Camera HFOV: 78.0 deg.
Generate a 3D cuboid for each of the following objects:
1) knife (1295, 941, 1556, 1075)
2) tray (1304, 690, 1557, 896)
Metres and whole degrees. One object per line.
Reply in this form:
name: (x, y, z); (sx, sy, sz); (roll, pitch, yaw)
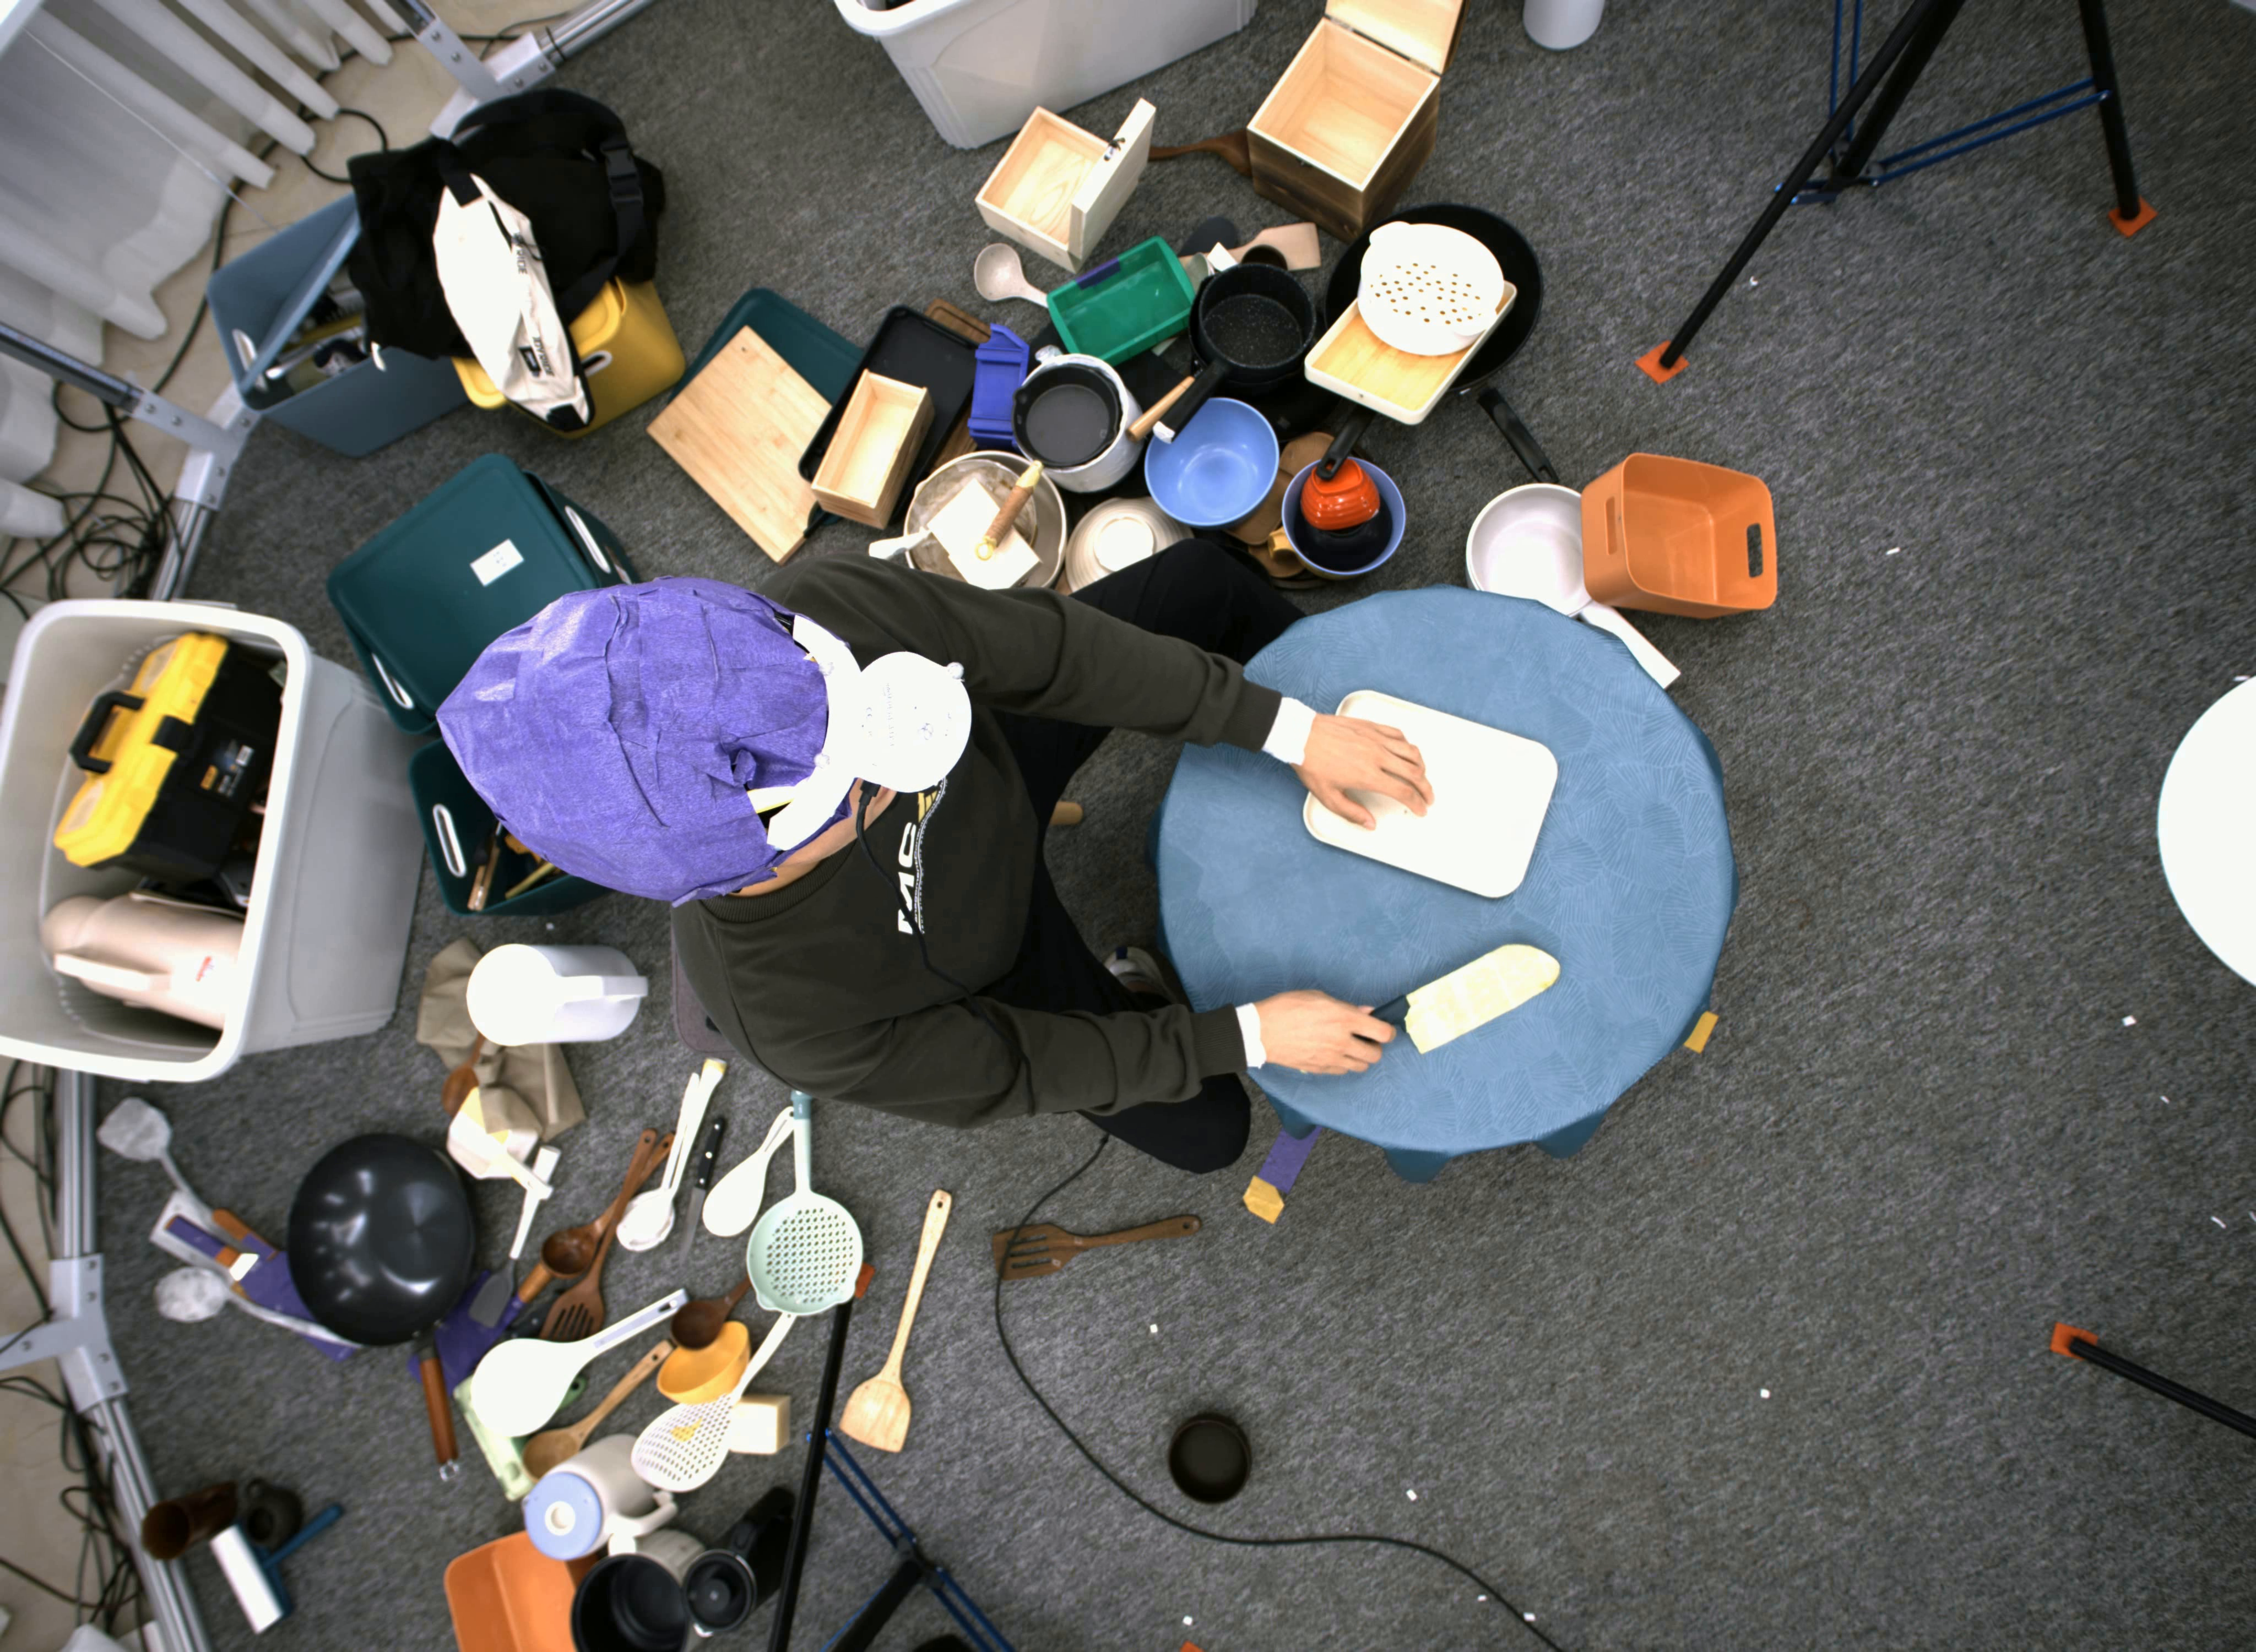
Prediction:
knife: (0.309, 0.195, 1.428); (0.291, 0.027, 0.082); (-26, 108, 8)
tray: (0.316, -0.037, 1.448); (0.240, 0.017, 0.171); (19, 91, 11)
